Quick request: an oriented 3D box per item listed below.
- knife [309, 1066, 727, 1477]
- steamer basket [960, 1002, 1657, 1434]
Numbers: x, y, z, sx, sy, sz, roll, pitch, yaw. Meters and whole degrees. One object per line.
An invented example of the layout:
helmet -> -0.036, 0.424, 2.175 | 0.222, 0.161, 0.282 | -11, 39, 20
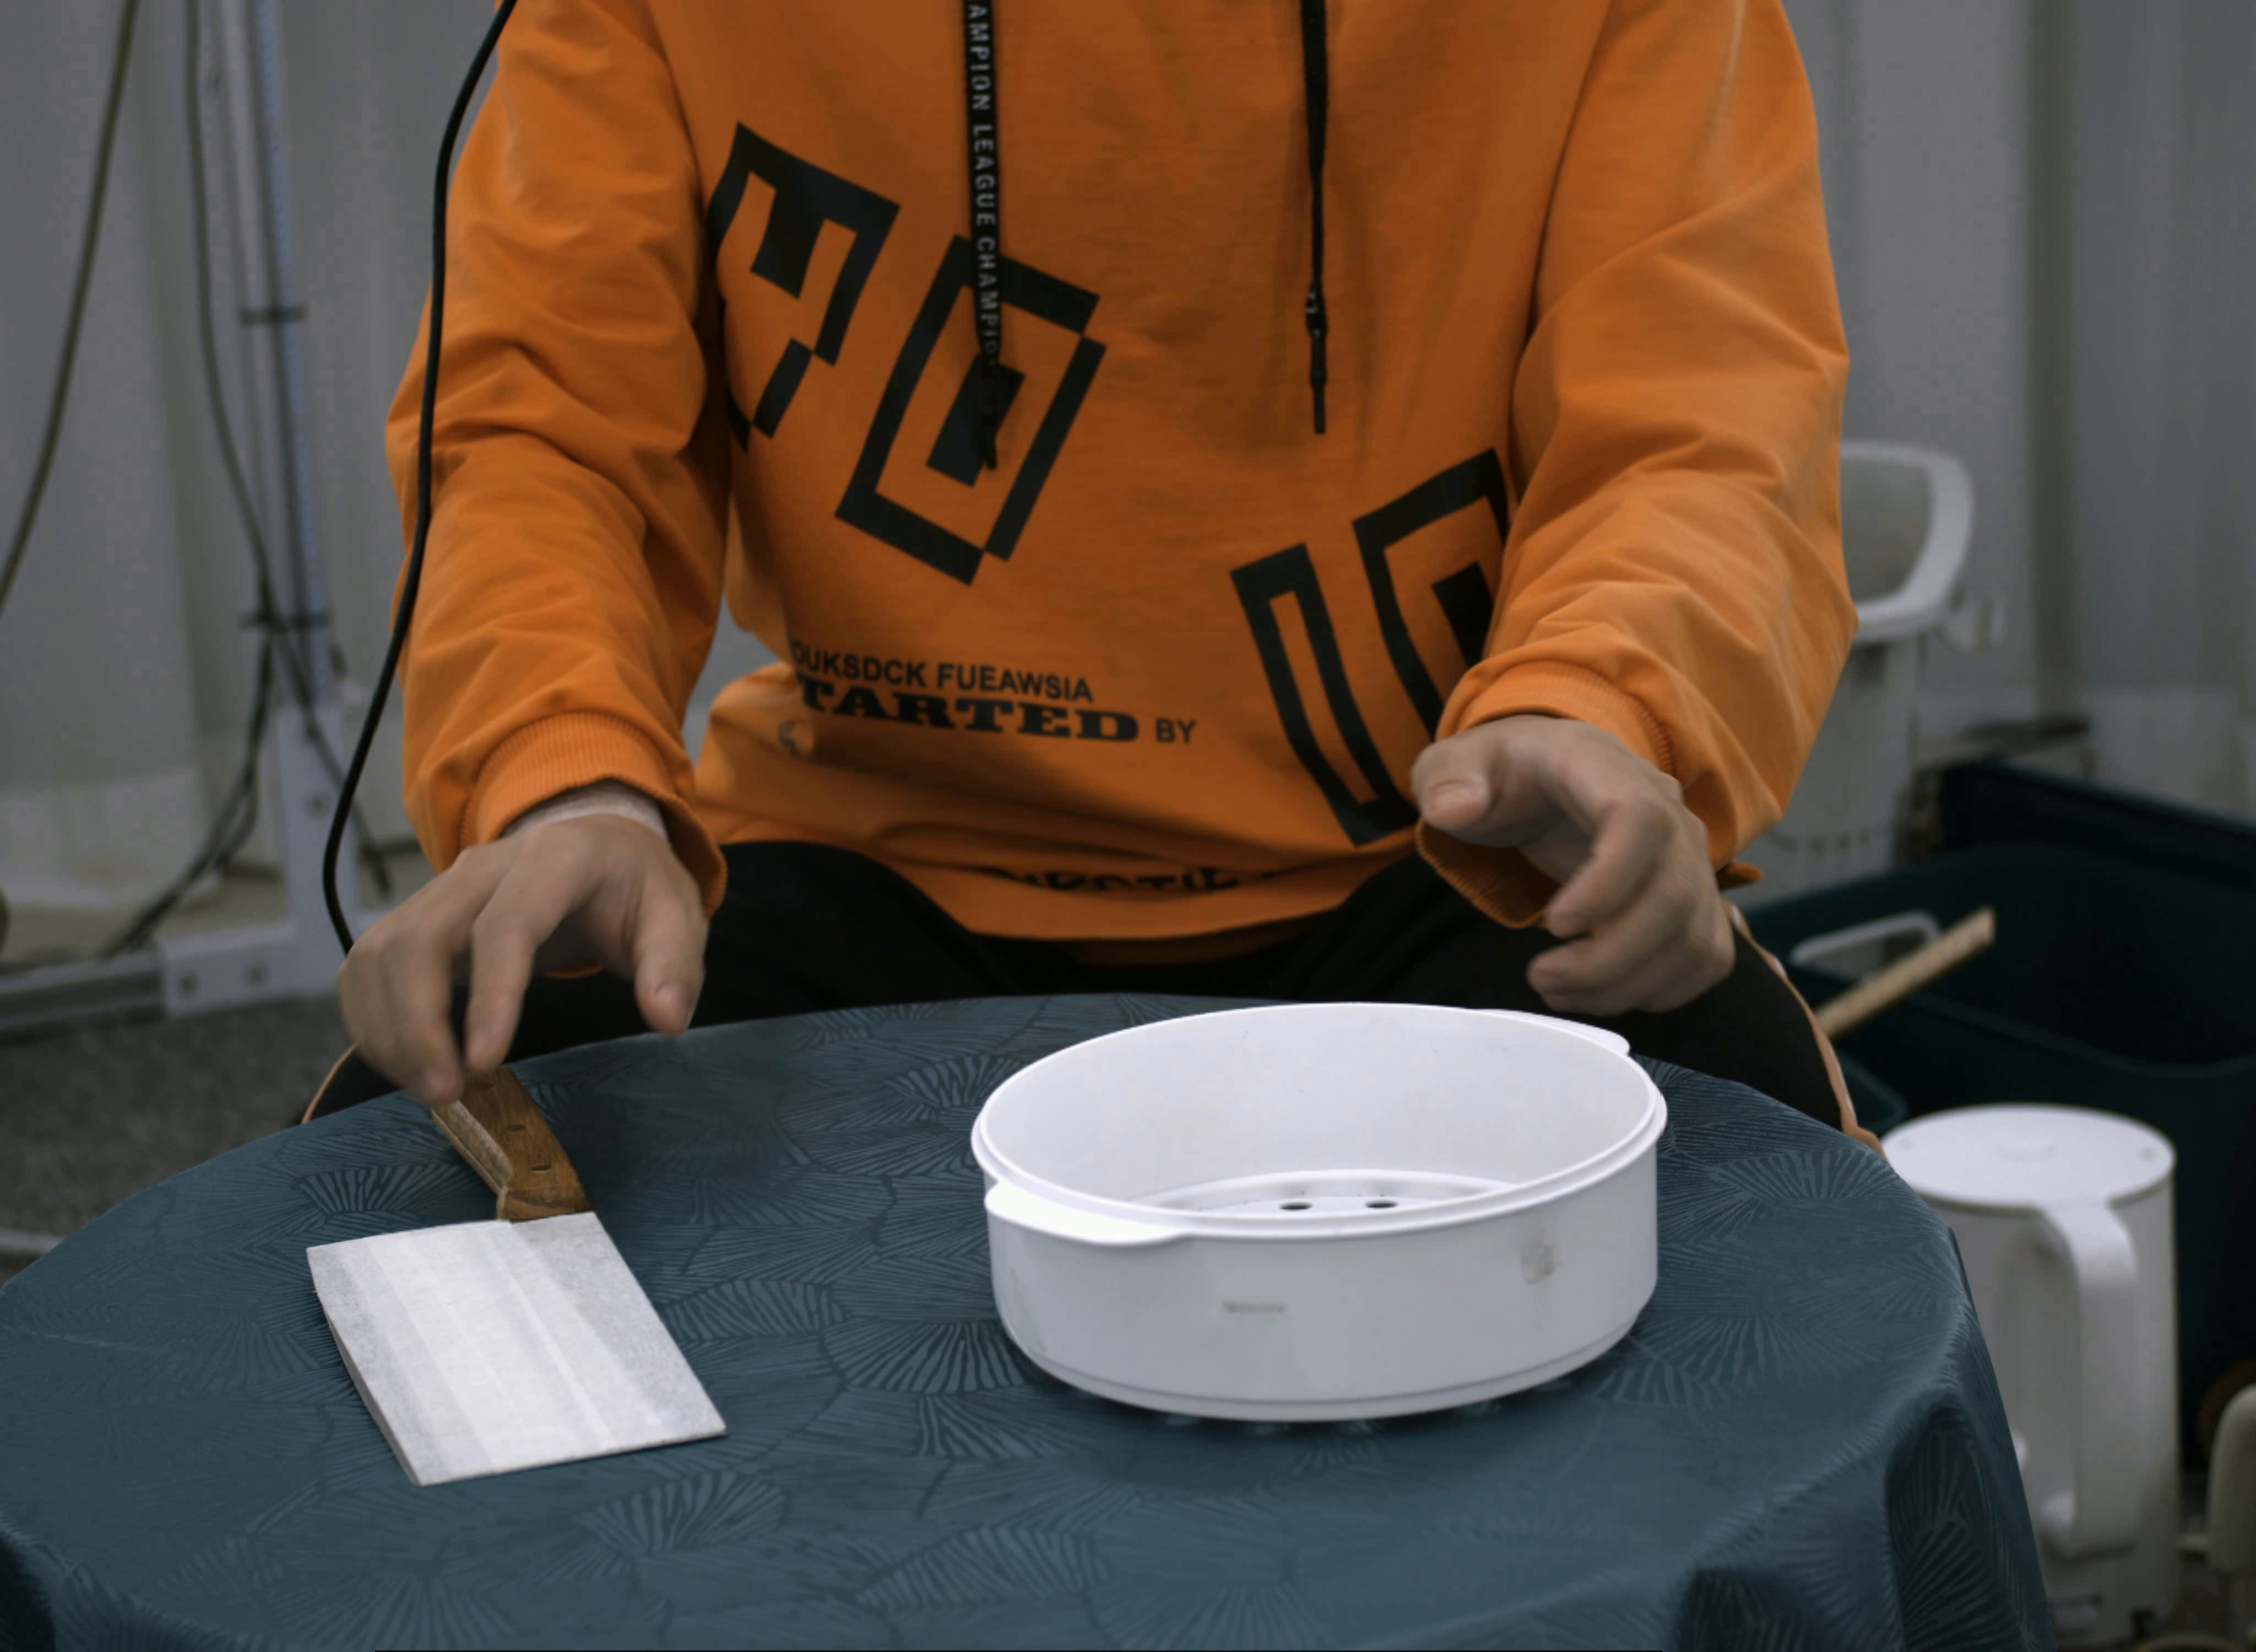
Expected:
knife -> -0.197, 0.134, 1.654 | 0.092, 0.021, 0.308 | -9, 18, -15
steamer basket -> 0.053, 0.113, 1.580 | 0.203, 0.069, 0.230 | 10, 22, 43
